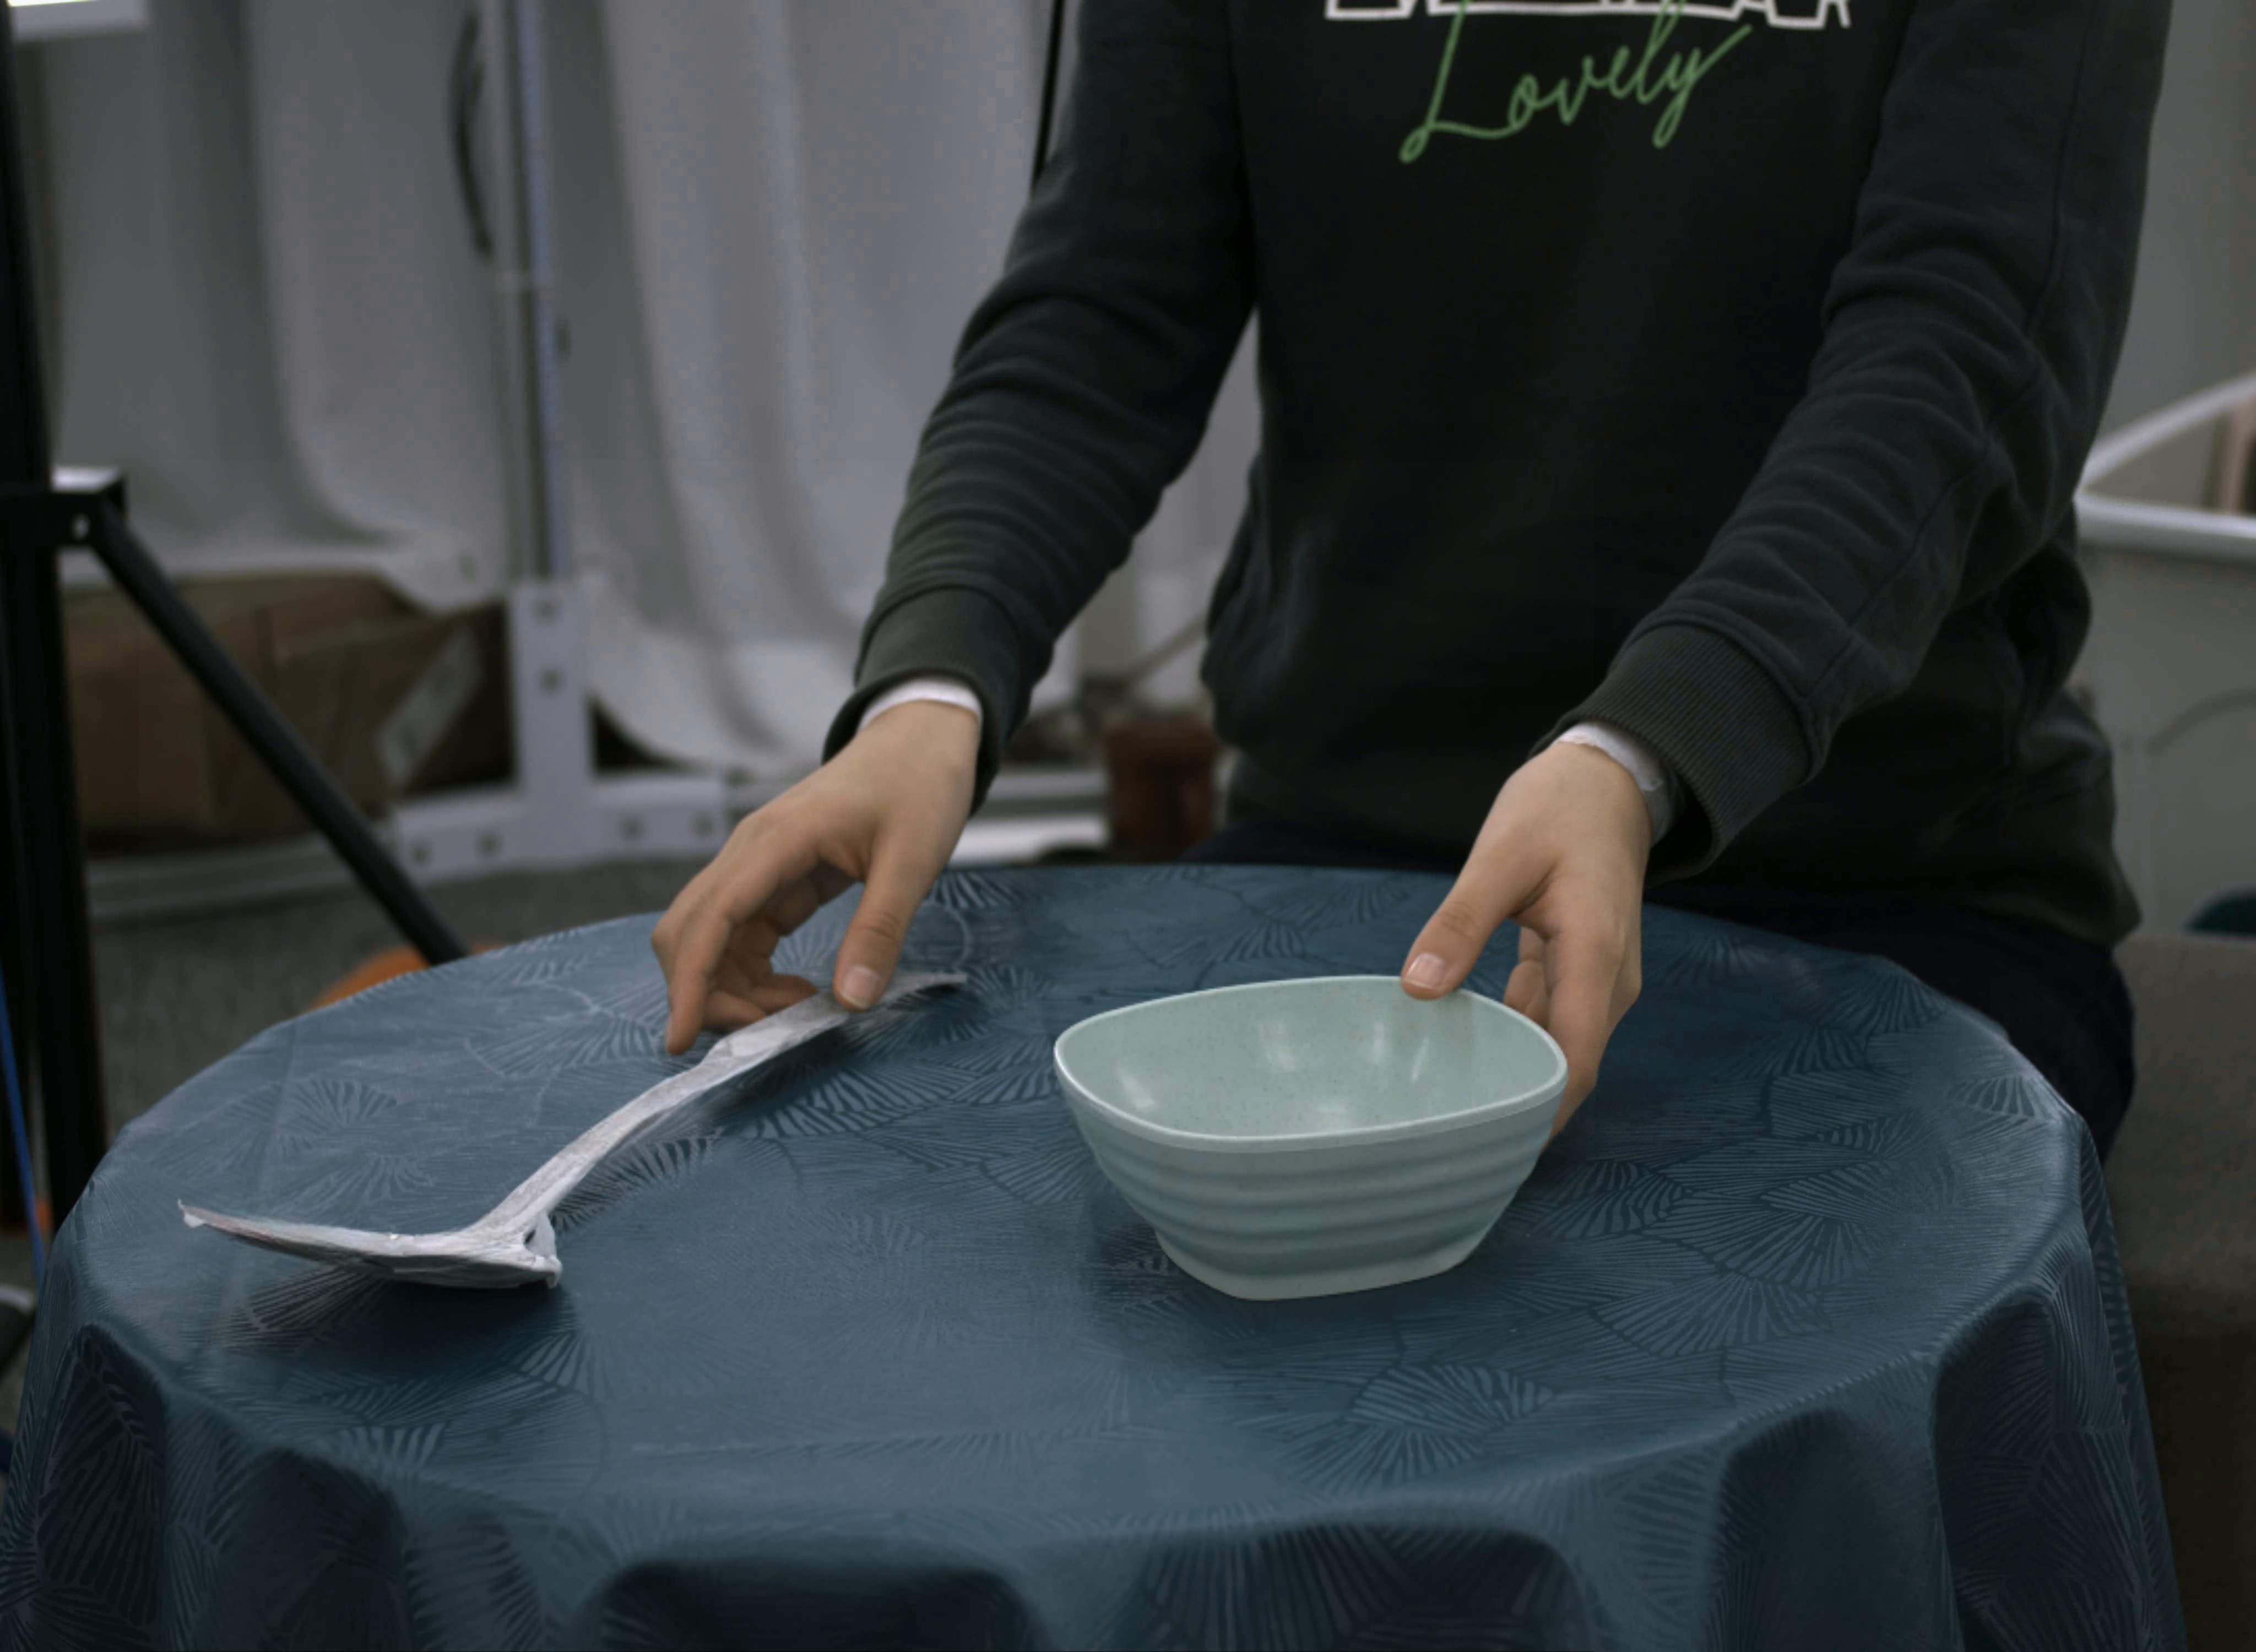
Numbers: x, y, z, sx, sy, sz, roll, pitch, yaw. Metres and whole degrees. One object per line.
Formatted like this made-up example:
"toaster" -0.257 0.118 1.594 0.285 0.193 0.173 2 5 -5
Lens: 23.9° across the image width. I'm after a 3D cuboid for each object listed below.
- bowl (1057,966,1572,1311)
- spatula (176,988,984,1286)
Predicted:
"bowl" 0.053 0.092 1.504 0.151 0.058 0.152 -3 18 0
"spatula" -0.143 0.083 1.599 0.100 0.045 0.359 4 17 29
